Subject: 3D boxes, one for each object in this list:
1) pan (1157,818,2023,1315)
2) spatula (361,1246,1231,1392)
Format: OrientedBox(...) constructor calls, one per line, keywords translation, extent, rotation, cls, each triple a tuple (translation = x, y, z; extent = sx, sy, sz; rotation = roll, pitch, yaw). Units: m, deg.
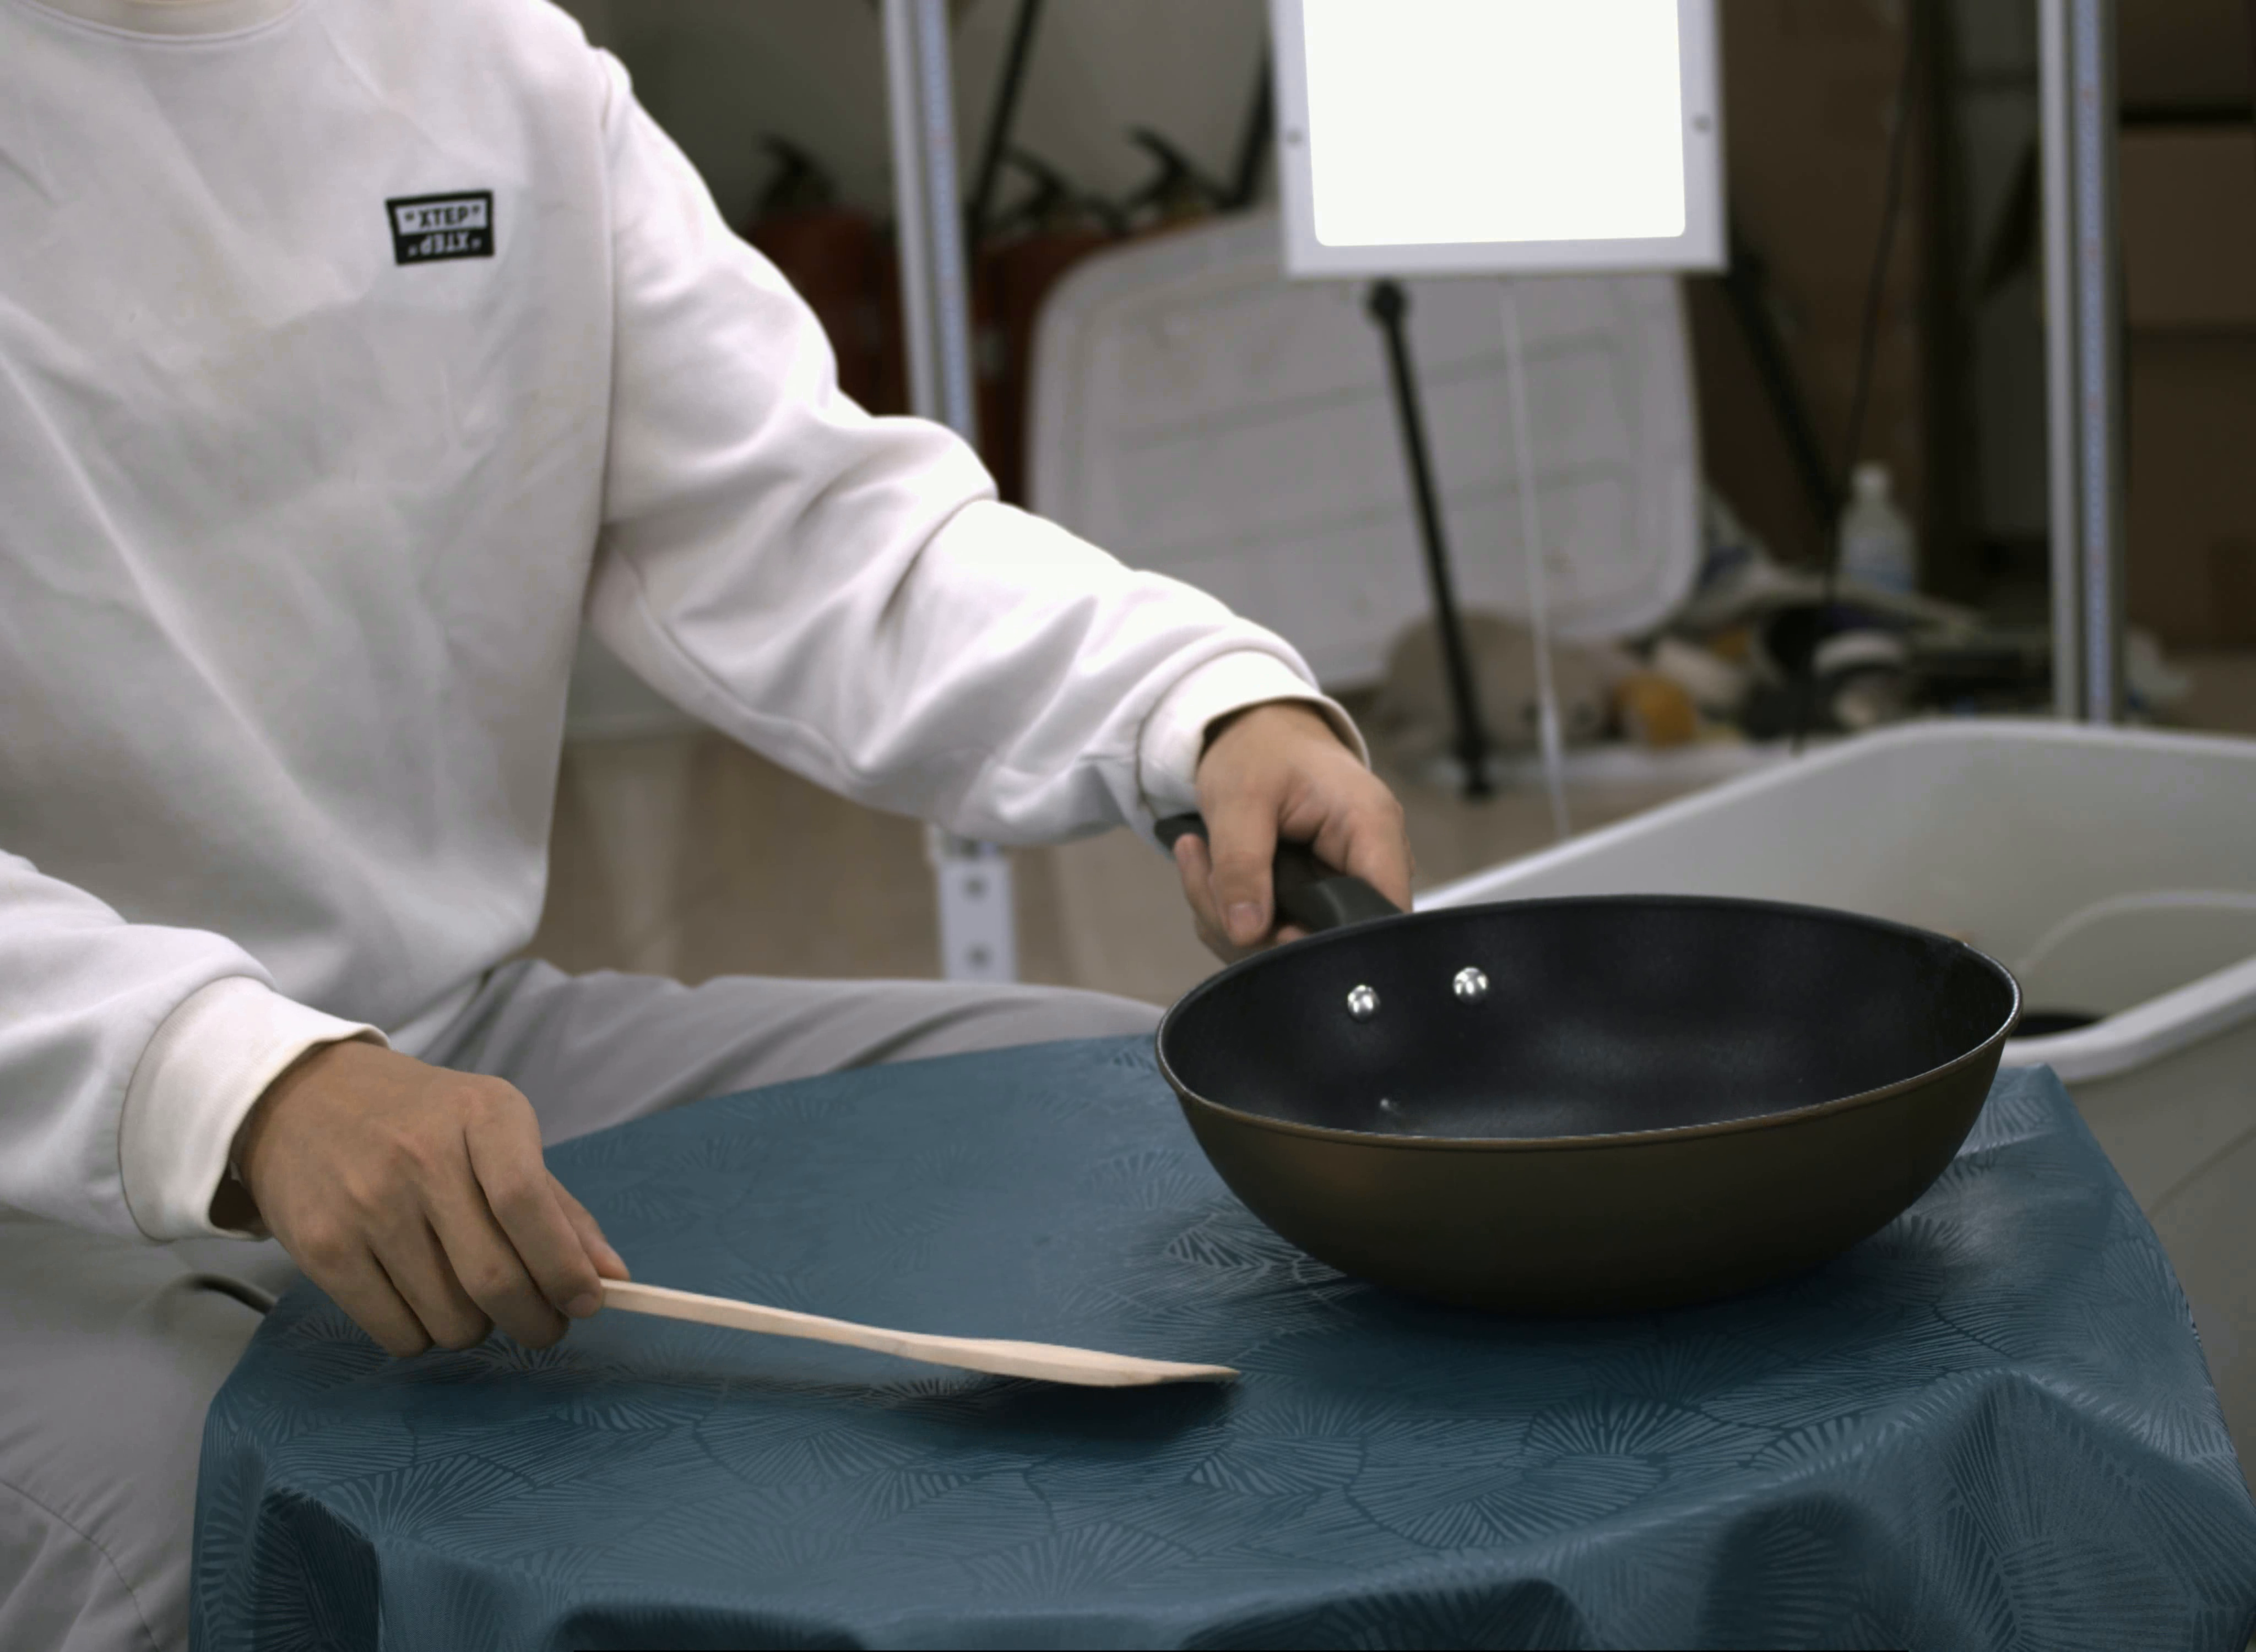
OrientedBox(translation=(0.117, 0.078, 1.869), extent=(0.283, 0.087, 0.470), rotation=(-9, 14, -20), cls="pan")
OrientedBox(translation=(-0.113, 0.155, 1.731), extent=(0.297, 0.011, 0.071), rotation=(6, 0, 25), cls="spatula")
